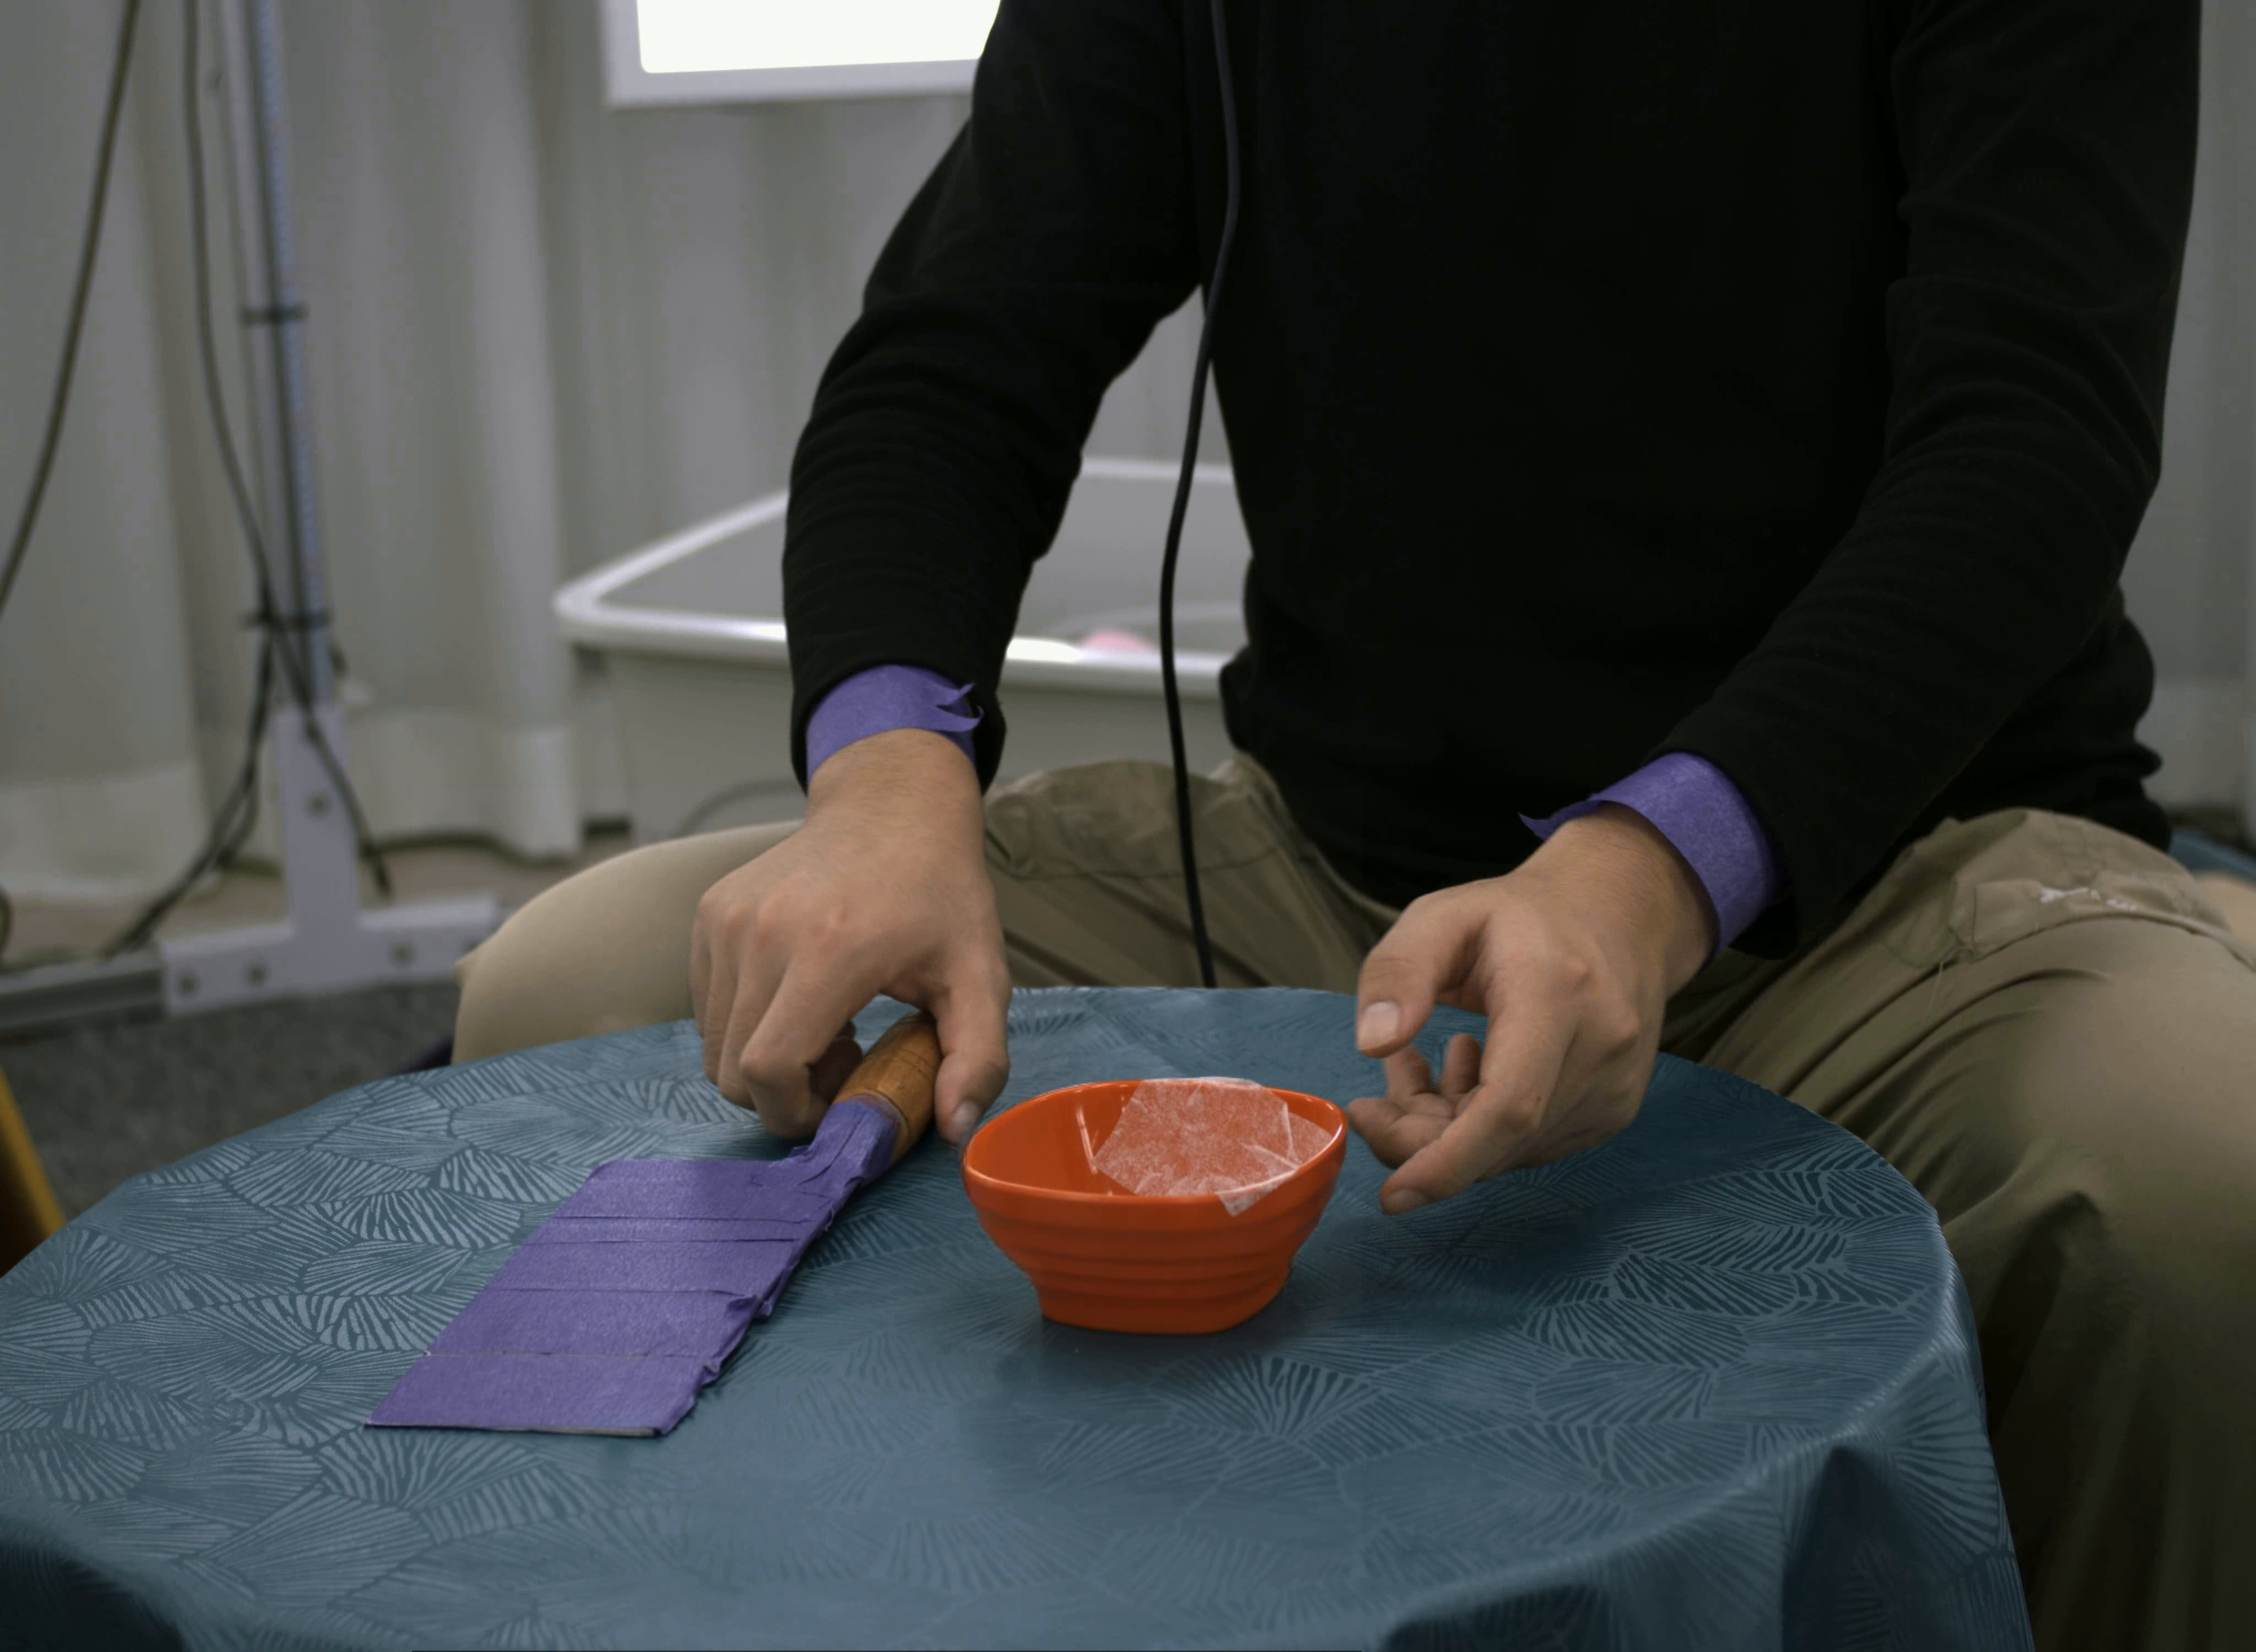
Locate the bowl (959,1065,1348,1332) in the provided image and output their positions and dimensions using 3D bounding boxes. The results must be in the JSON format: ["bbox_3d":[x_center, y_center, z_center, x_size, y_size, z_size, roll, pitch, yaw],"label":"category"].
[{"bbox_3d":[0.010,0.113,1.612,0.118,0.051,0.120,-5,17,1],"label":"bowl"}]

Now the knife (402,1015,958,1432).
[{"bbox_3d":[-0.134,0.119,1.675,0.104,0.032,0.317,1,16,14],"label":"knife"}]
